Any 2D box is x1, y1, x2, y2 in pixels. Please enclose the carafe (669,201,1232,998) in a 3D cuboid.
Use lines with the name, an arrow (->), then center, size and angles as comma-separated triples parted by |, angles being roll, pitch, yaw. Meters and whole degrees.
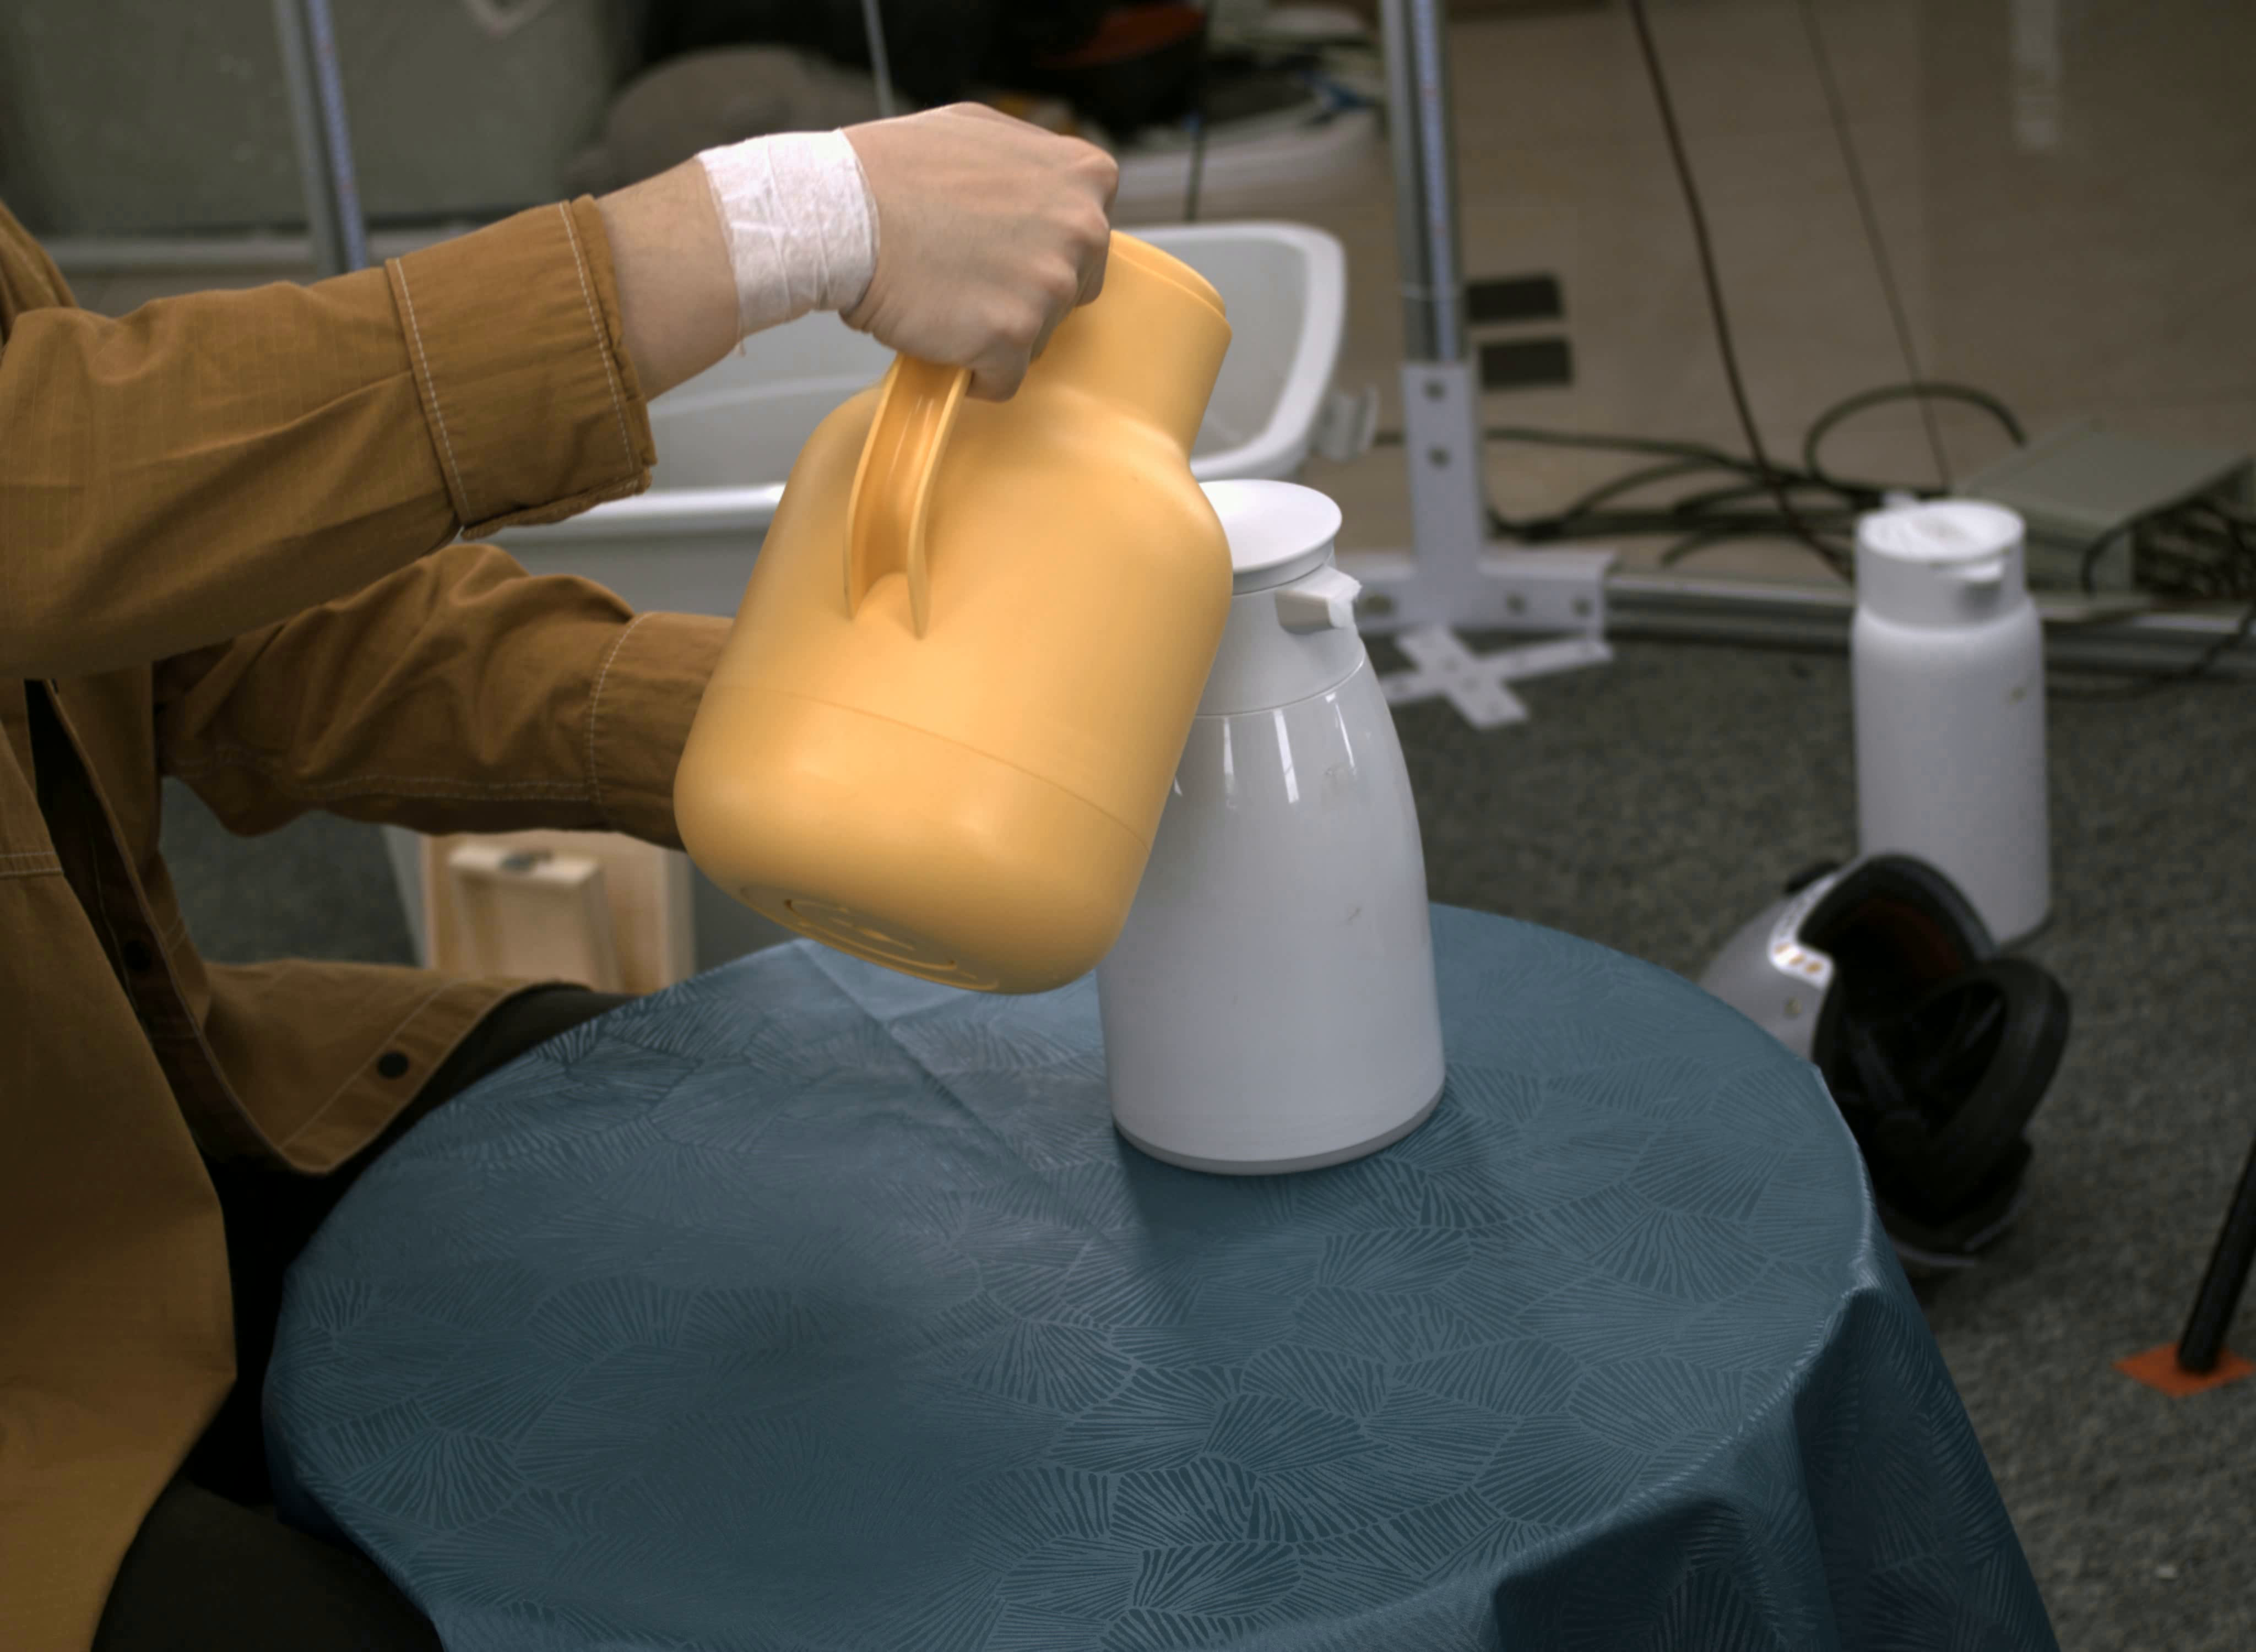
carafe -> -0.055, -0.086, 1.943 | 0.162, 0.259, 0.204 | 15, -11, 21

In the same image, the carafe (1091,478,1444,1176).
carafe -> 0.031, -0.010, 2.164 | 0.166, 0.252, 0.131 | 16, 34, 40
